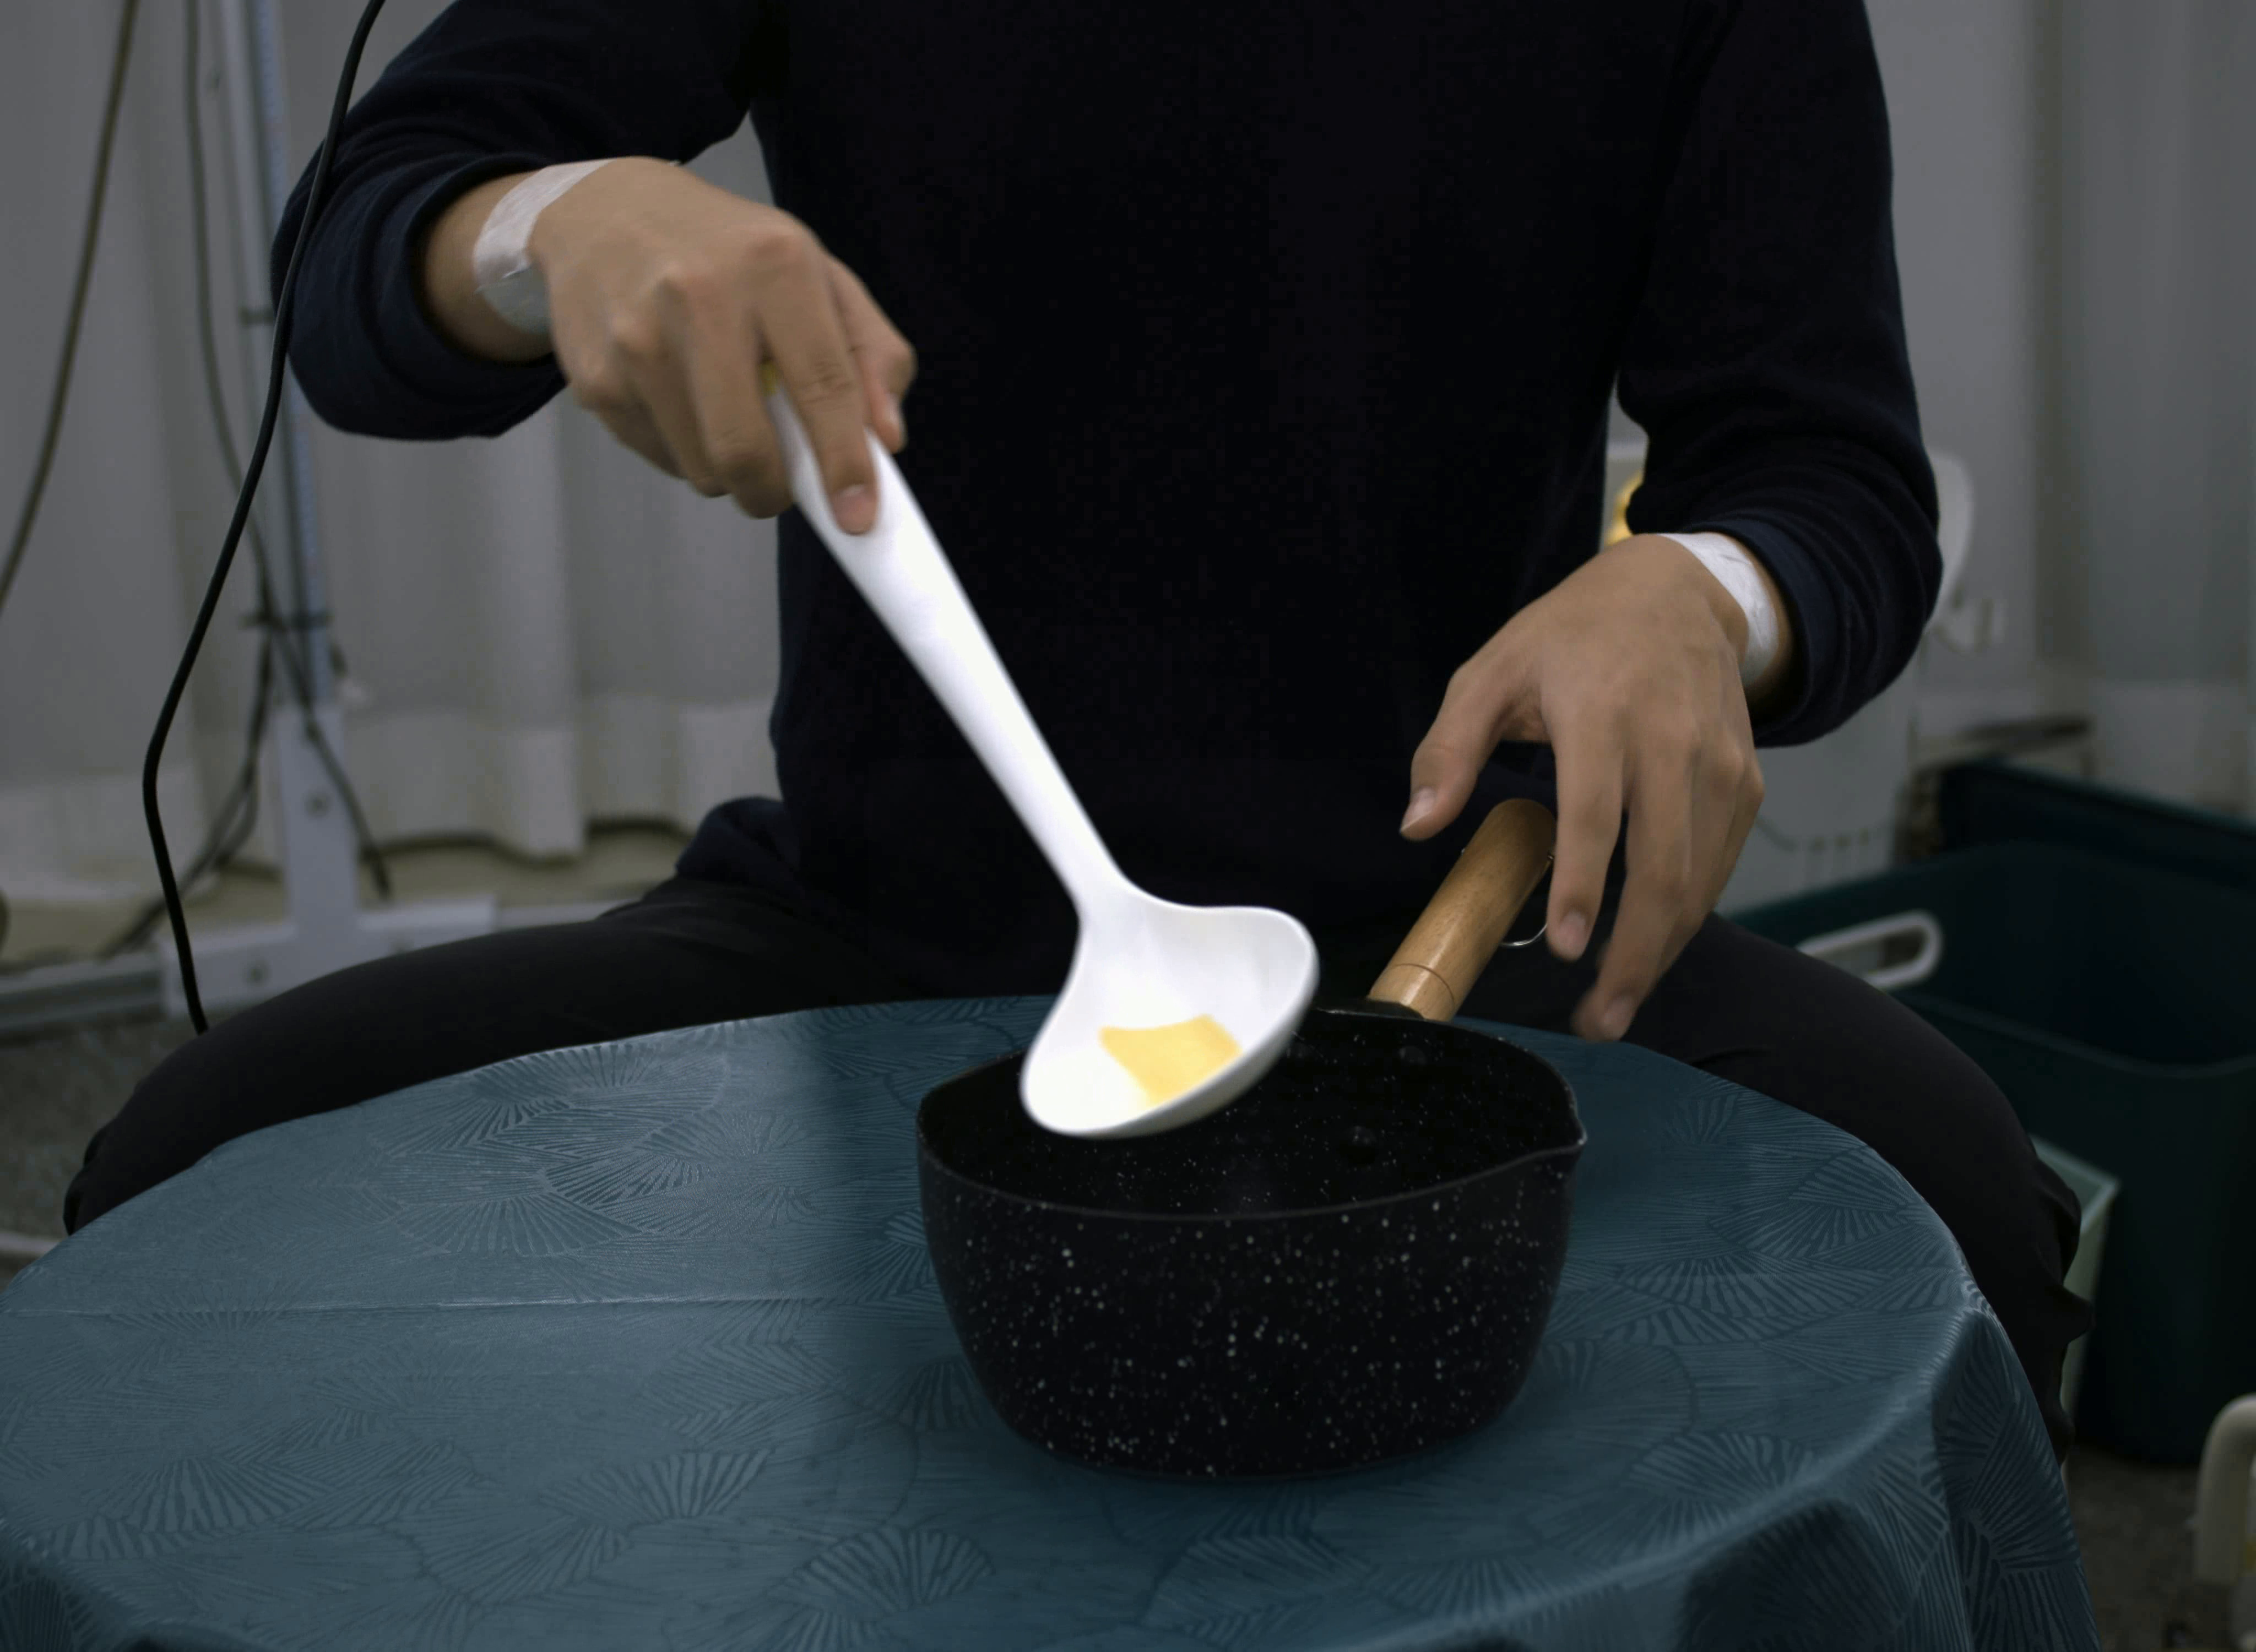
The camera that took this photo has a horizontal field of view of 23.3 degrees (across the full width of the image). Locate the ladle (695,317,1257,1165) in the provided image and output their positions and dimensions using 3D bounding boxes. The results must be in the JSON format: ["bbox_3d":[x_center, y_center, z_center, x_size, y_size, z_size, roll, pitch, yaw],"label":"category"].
[{"bbox_3d":[-0.053,-0.030,1.542,0.090,0.296,0.069,-36,-25,11],"label":"ladle"}]

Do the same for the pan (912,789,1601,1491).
[{"bbox_3d":[0.063,0.087,1.601,0.207,0.108,0.344,2,17,22],"label":"pan"}]
